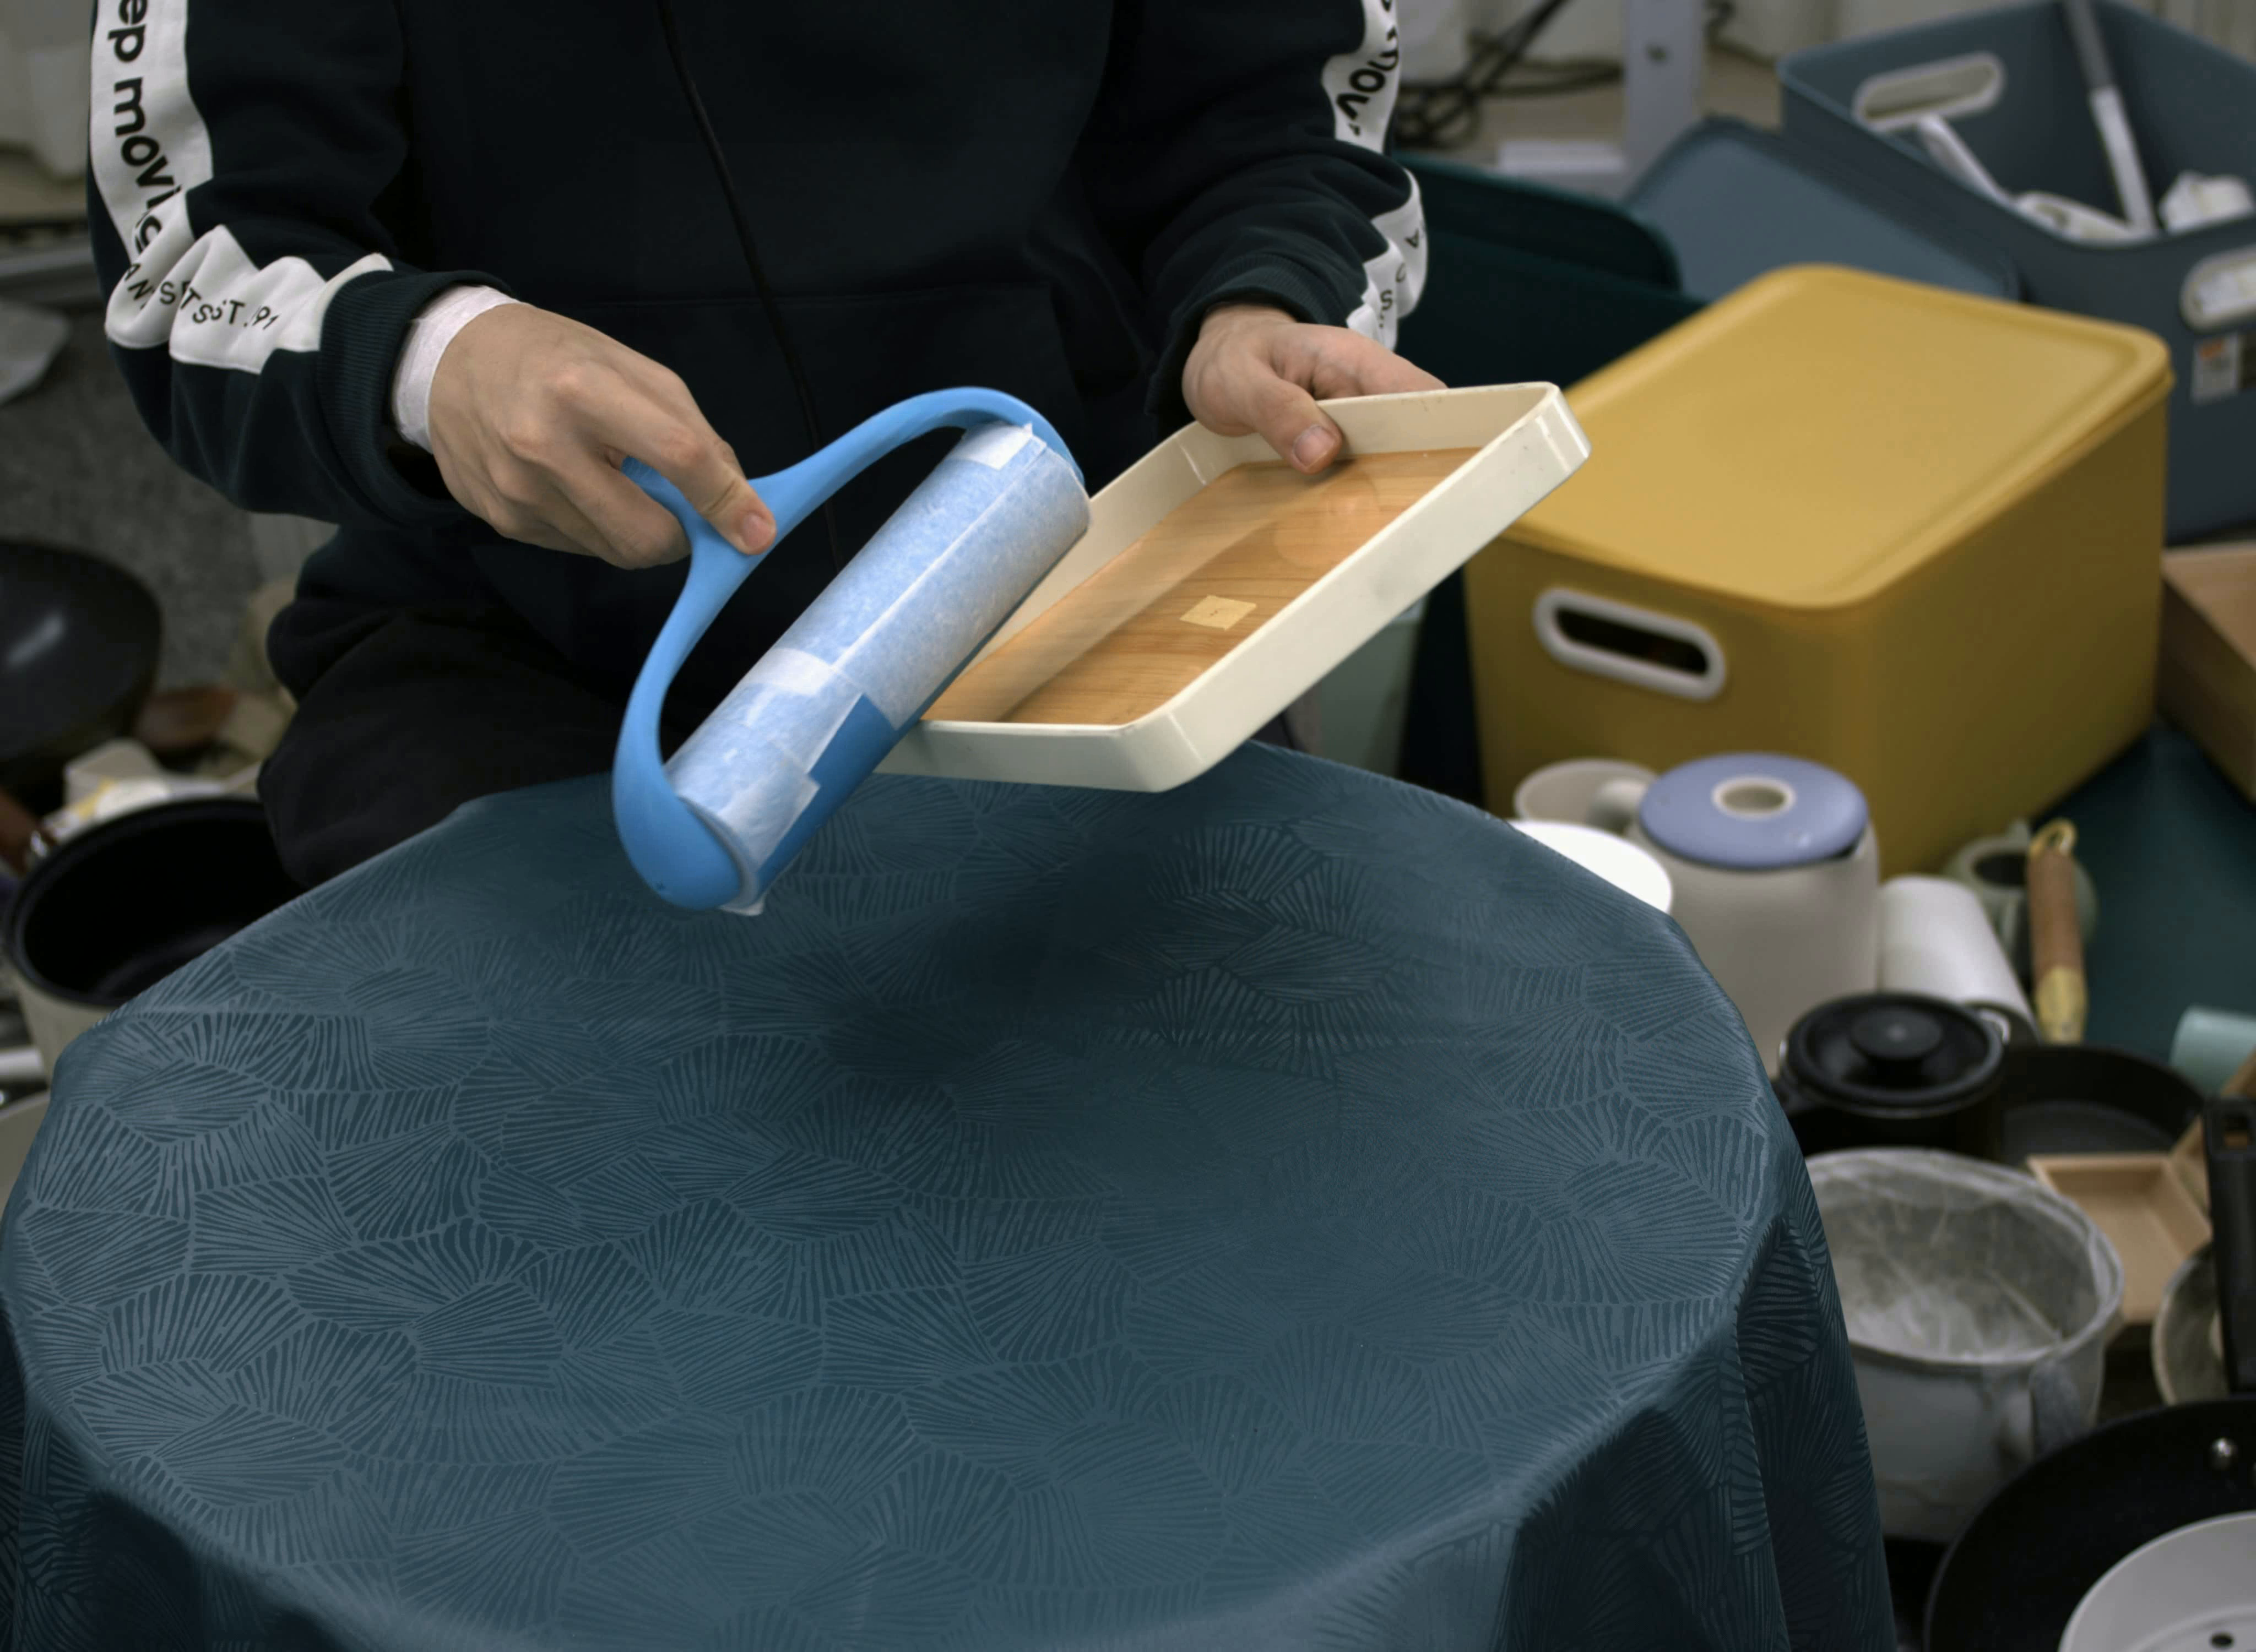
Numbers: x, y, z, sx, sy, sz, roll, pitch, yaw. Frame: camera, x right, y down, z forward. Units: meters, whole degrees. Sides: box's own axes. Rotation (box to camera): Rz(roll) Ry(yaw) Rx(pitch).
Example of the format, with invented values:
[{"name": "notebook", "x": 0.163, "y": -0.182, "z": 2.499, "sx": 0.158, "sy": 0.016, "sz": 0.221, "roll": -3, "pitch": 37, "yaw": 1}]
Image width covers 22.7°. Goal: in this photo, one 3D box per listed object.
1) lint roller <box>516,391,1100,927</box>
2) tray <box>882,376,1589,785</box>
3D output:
[{"name": "lint roller", "x": -0.134, "y": -0.083, "z": 1.909, "sx": 0.180, "sy": 0.067, "sz": 0.233, "roll": 30, "pitch": 61, "yaw": 12}, {"name": "tray", "x": 0.021, "y": -0.081, "z": 1.902, "sx": 0.193, "sy": 0.027, "sz": 0.298, "roll": -39, "pitch": 15, "yaw": -17}]
